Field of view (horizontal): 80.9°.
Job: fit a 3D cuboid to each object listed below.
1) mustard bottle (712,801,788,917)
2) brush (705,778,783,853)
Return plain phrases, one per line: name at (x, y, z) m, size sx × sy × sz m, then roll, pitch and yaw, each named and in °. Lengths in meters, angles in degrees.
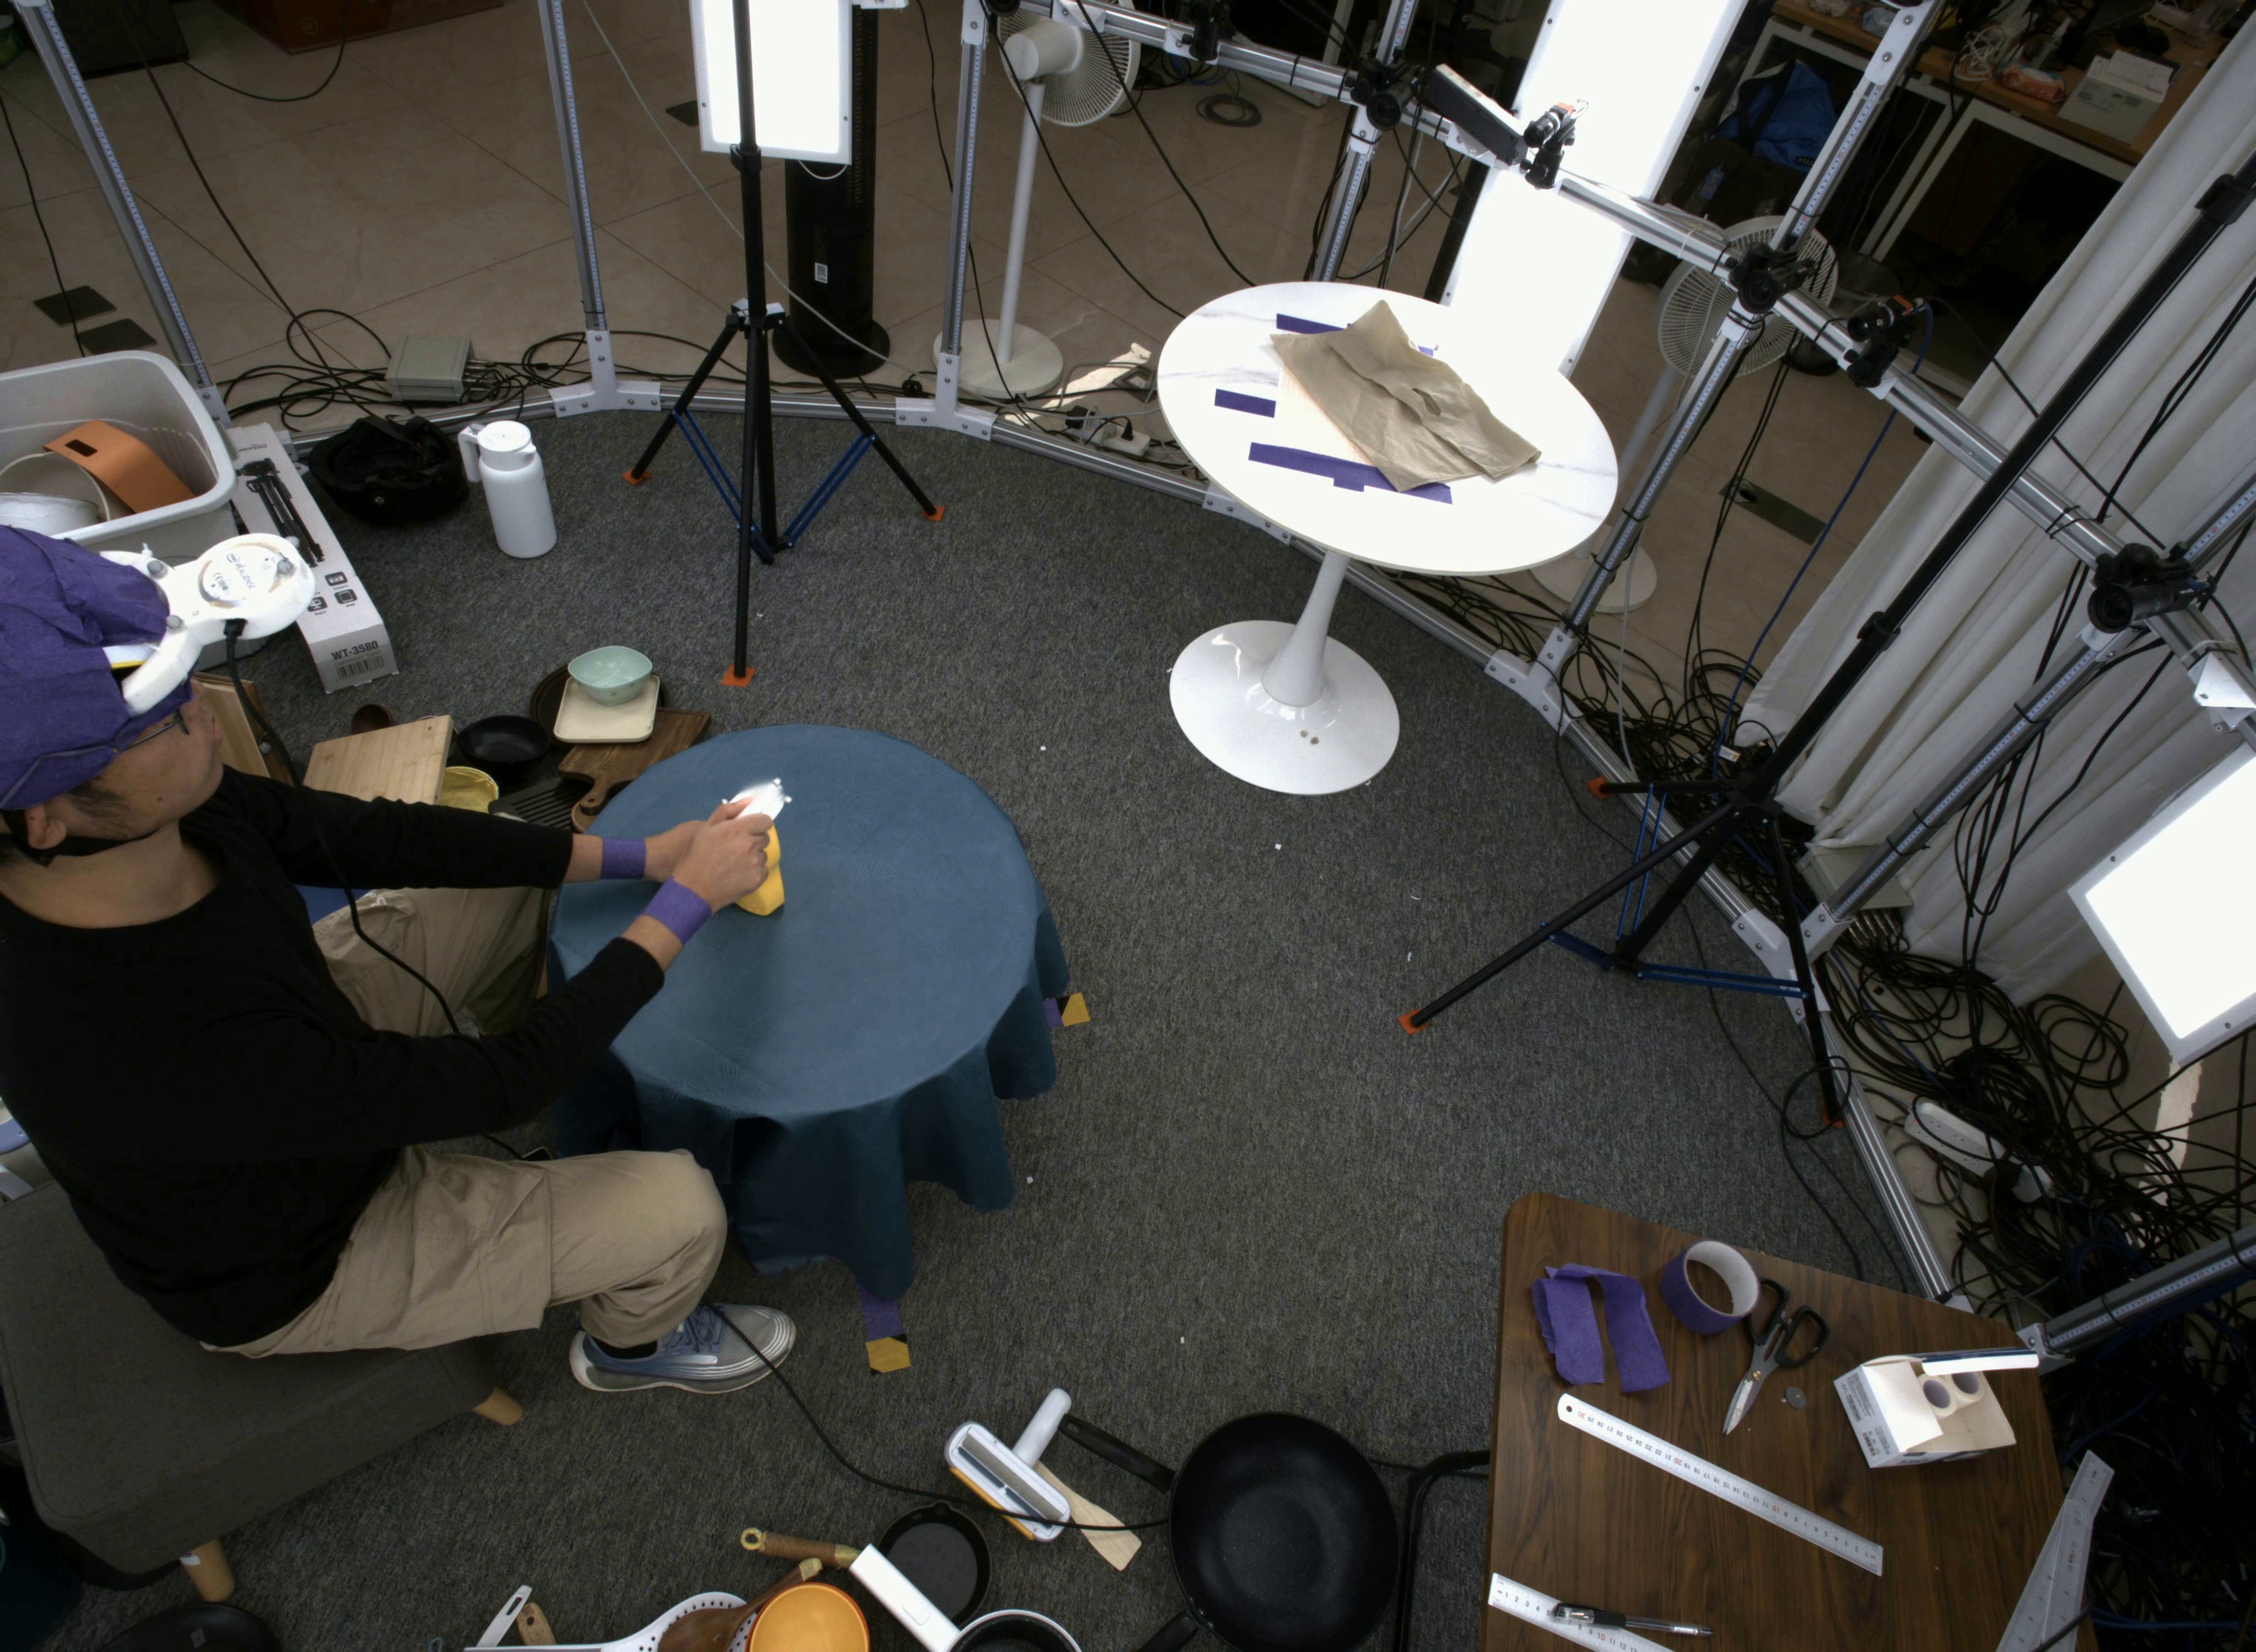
mustard bottle at (-0.466, 0.030, 1.587) m, size 0.096 × 0.175 × 0.059 m, roll 34°, pitch 56°, yaw 14°
brush at (-0.436, -0.016, 1.476) m, size 0.051 × 0.071 × 0.099 m, roll 48°, pitch 65°, yaw -10°
